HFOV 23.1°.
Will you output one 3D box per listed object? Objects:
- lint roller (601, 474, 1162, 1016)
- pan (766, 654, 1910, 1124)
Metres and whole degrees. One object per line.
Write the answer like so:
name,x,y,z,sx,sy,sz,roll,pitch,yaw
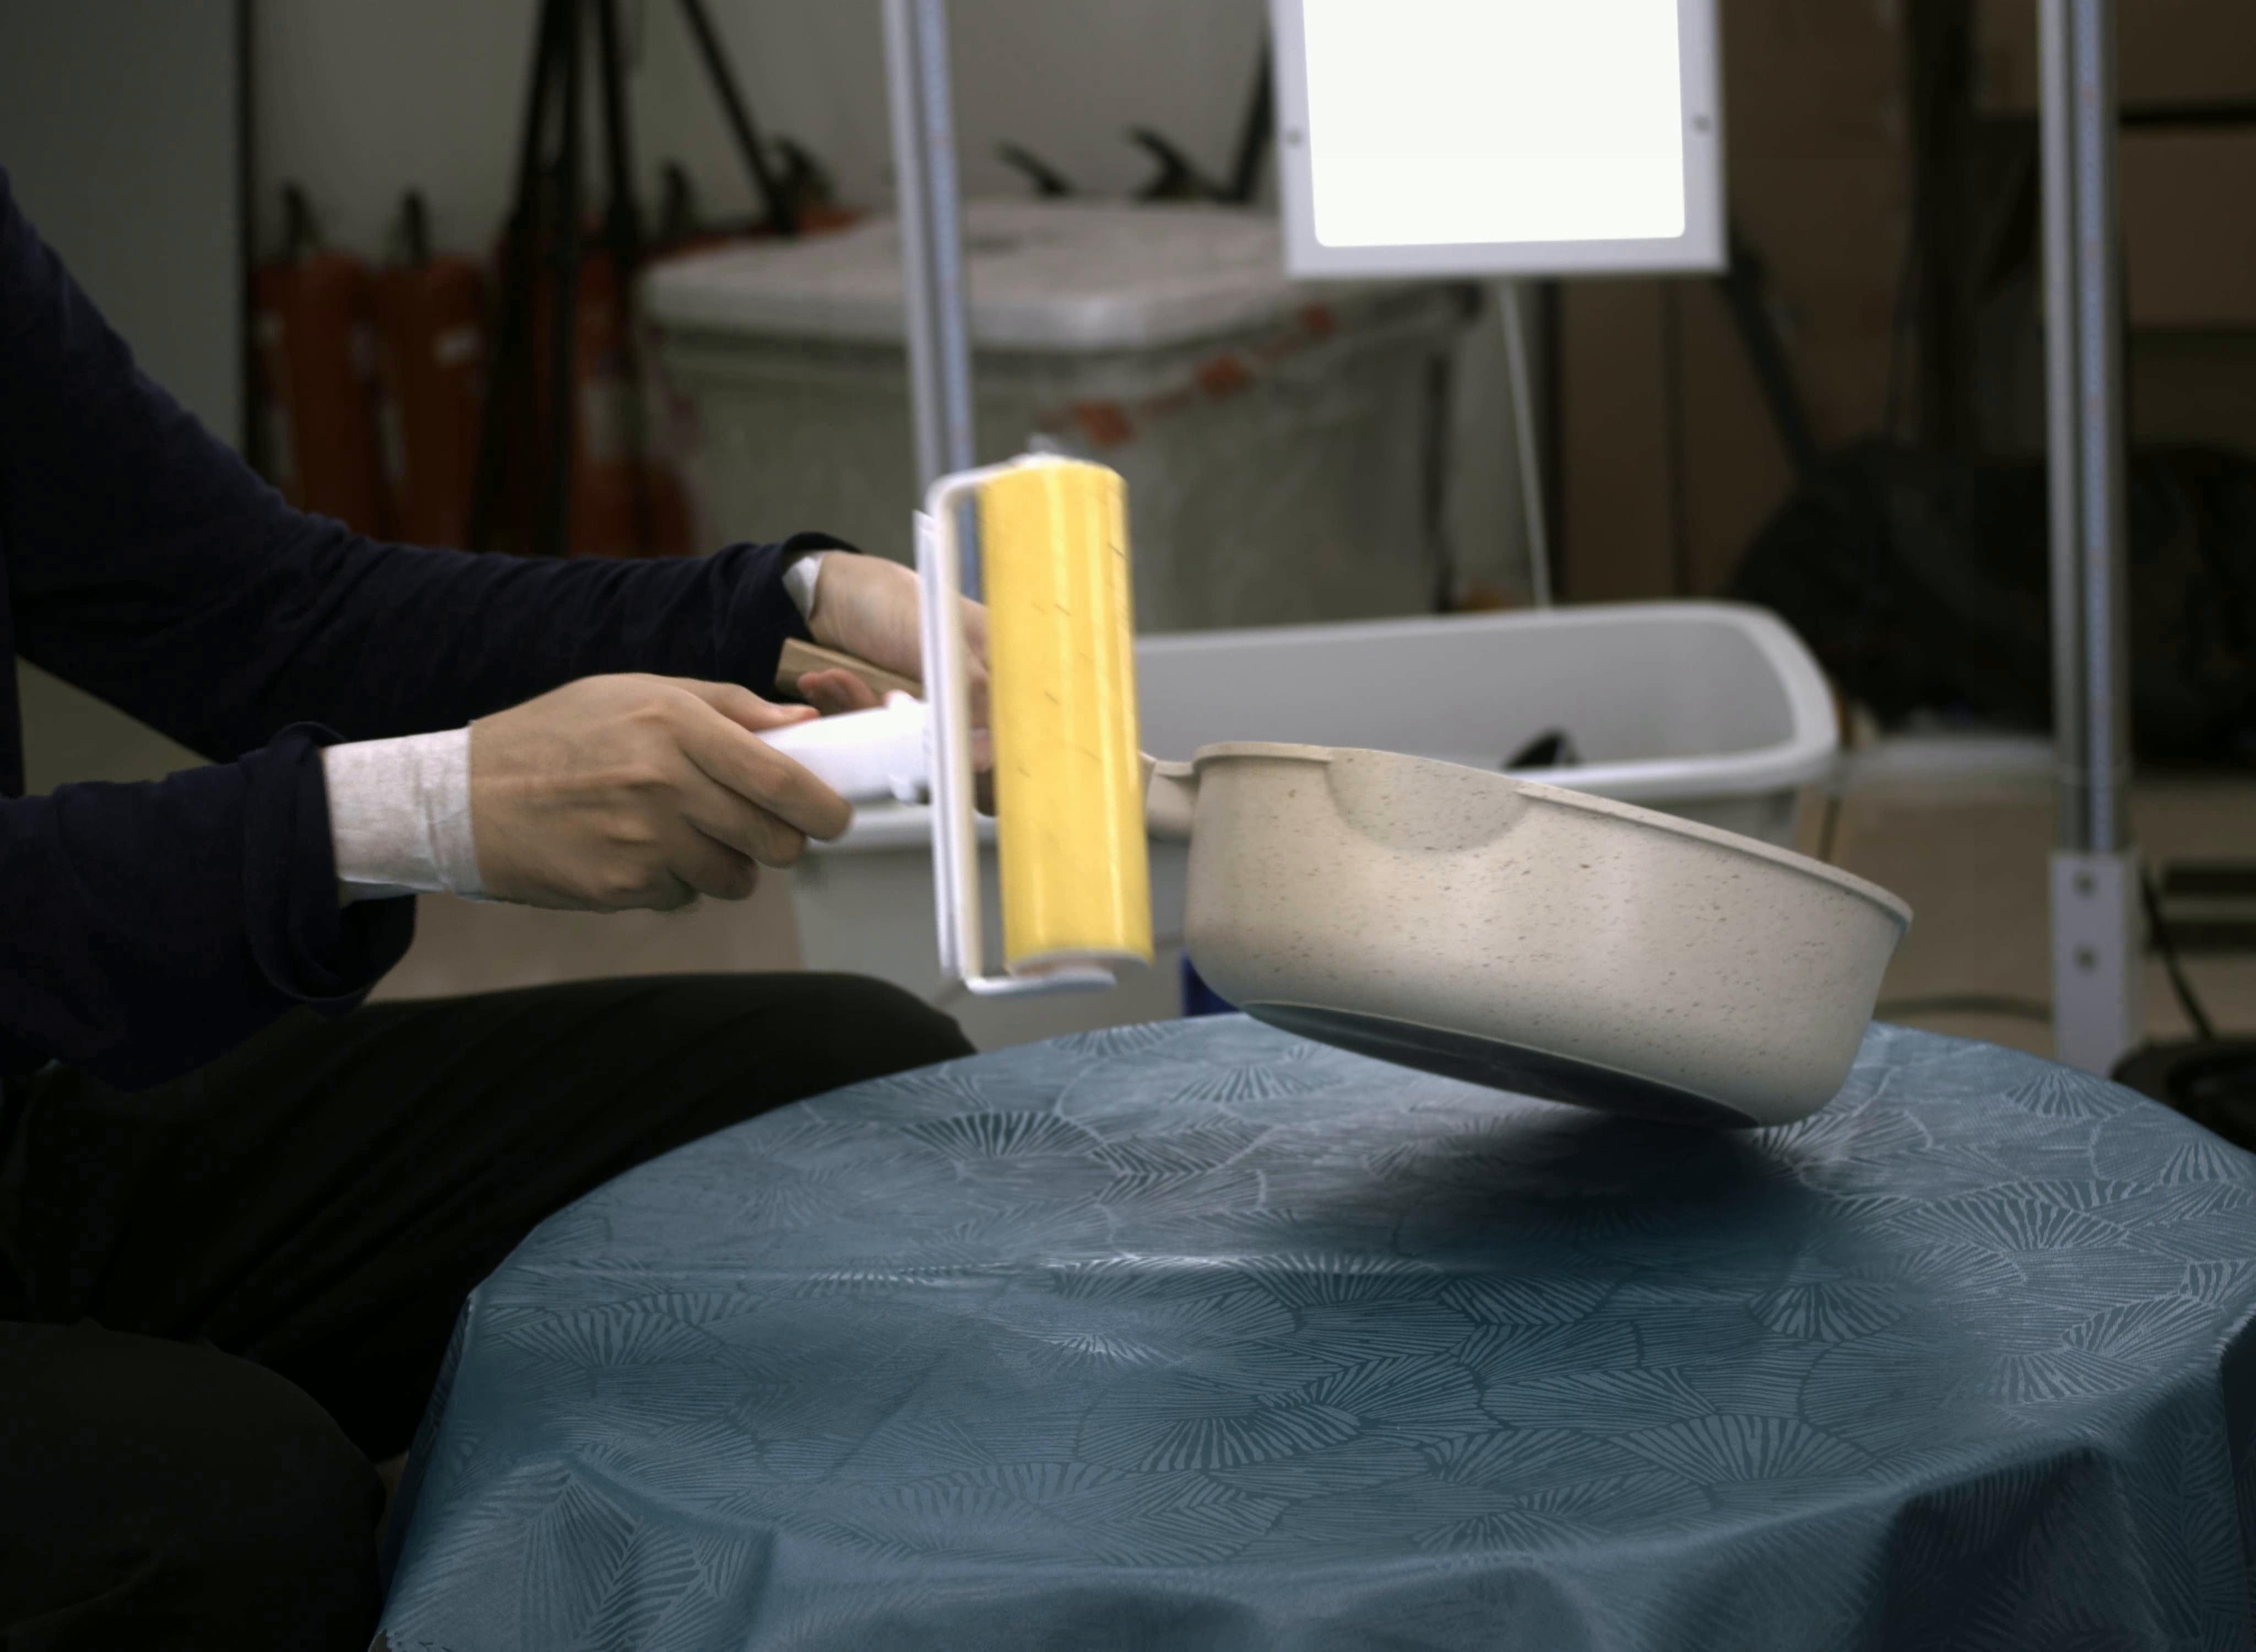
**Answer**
lint roller,-0.086,-0.018,1.784,0.194,0.174,0.051,-7,-14,15
pan,0.056,0.021,1.915,0.442,0.102,0.258,10,-5,28
